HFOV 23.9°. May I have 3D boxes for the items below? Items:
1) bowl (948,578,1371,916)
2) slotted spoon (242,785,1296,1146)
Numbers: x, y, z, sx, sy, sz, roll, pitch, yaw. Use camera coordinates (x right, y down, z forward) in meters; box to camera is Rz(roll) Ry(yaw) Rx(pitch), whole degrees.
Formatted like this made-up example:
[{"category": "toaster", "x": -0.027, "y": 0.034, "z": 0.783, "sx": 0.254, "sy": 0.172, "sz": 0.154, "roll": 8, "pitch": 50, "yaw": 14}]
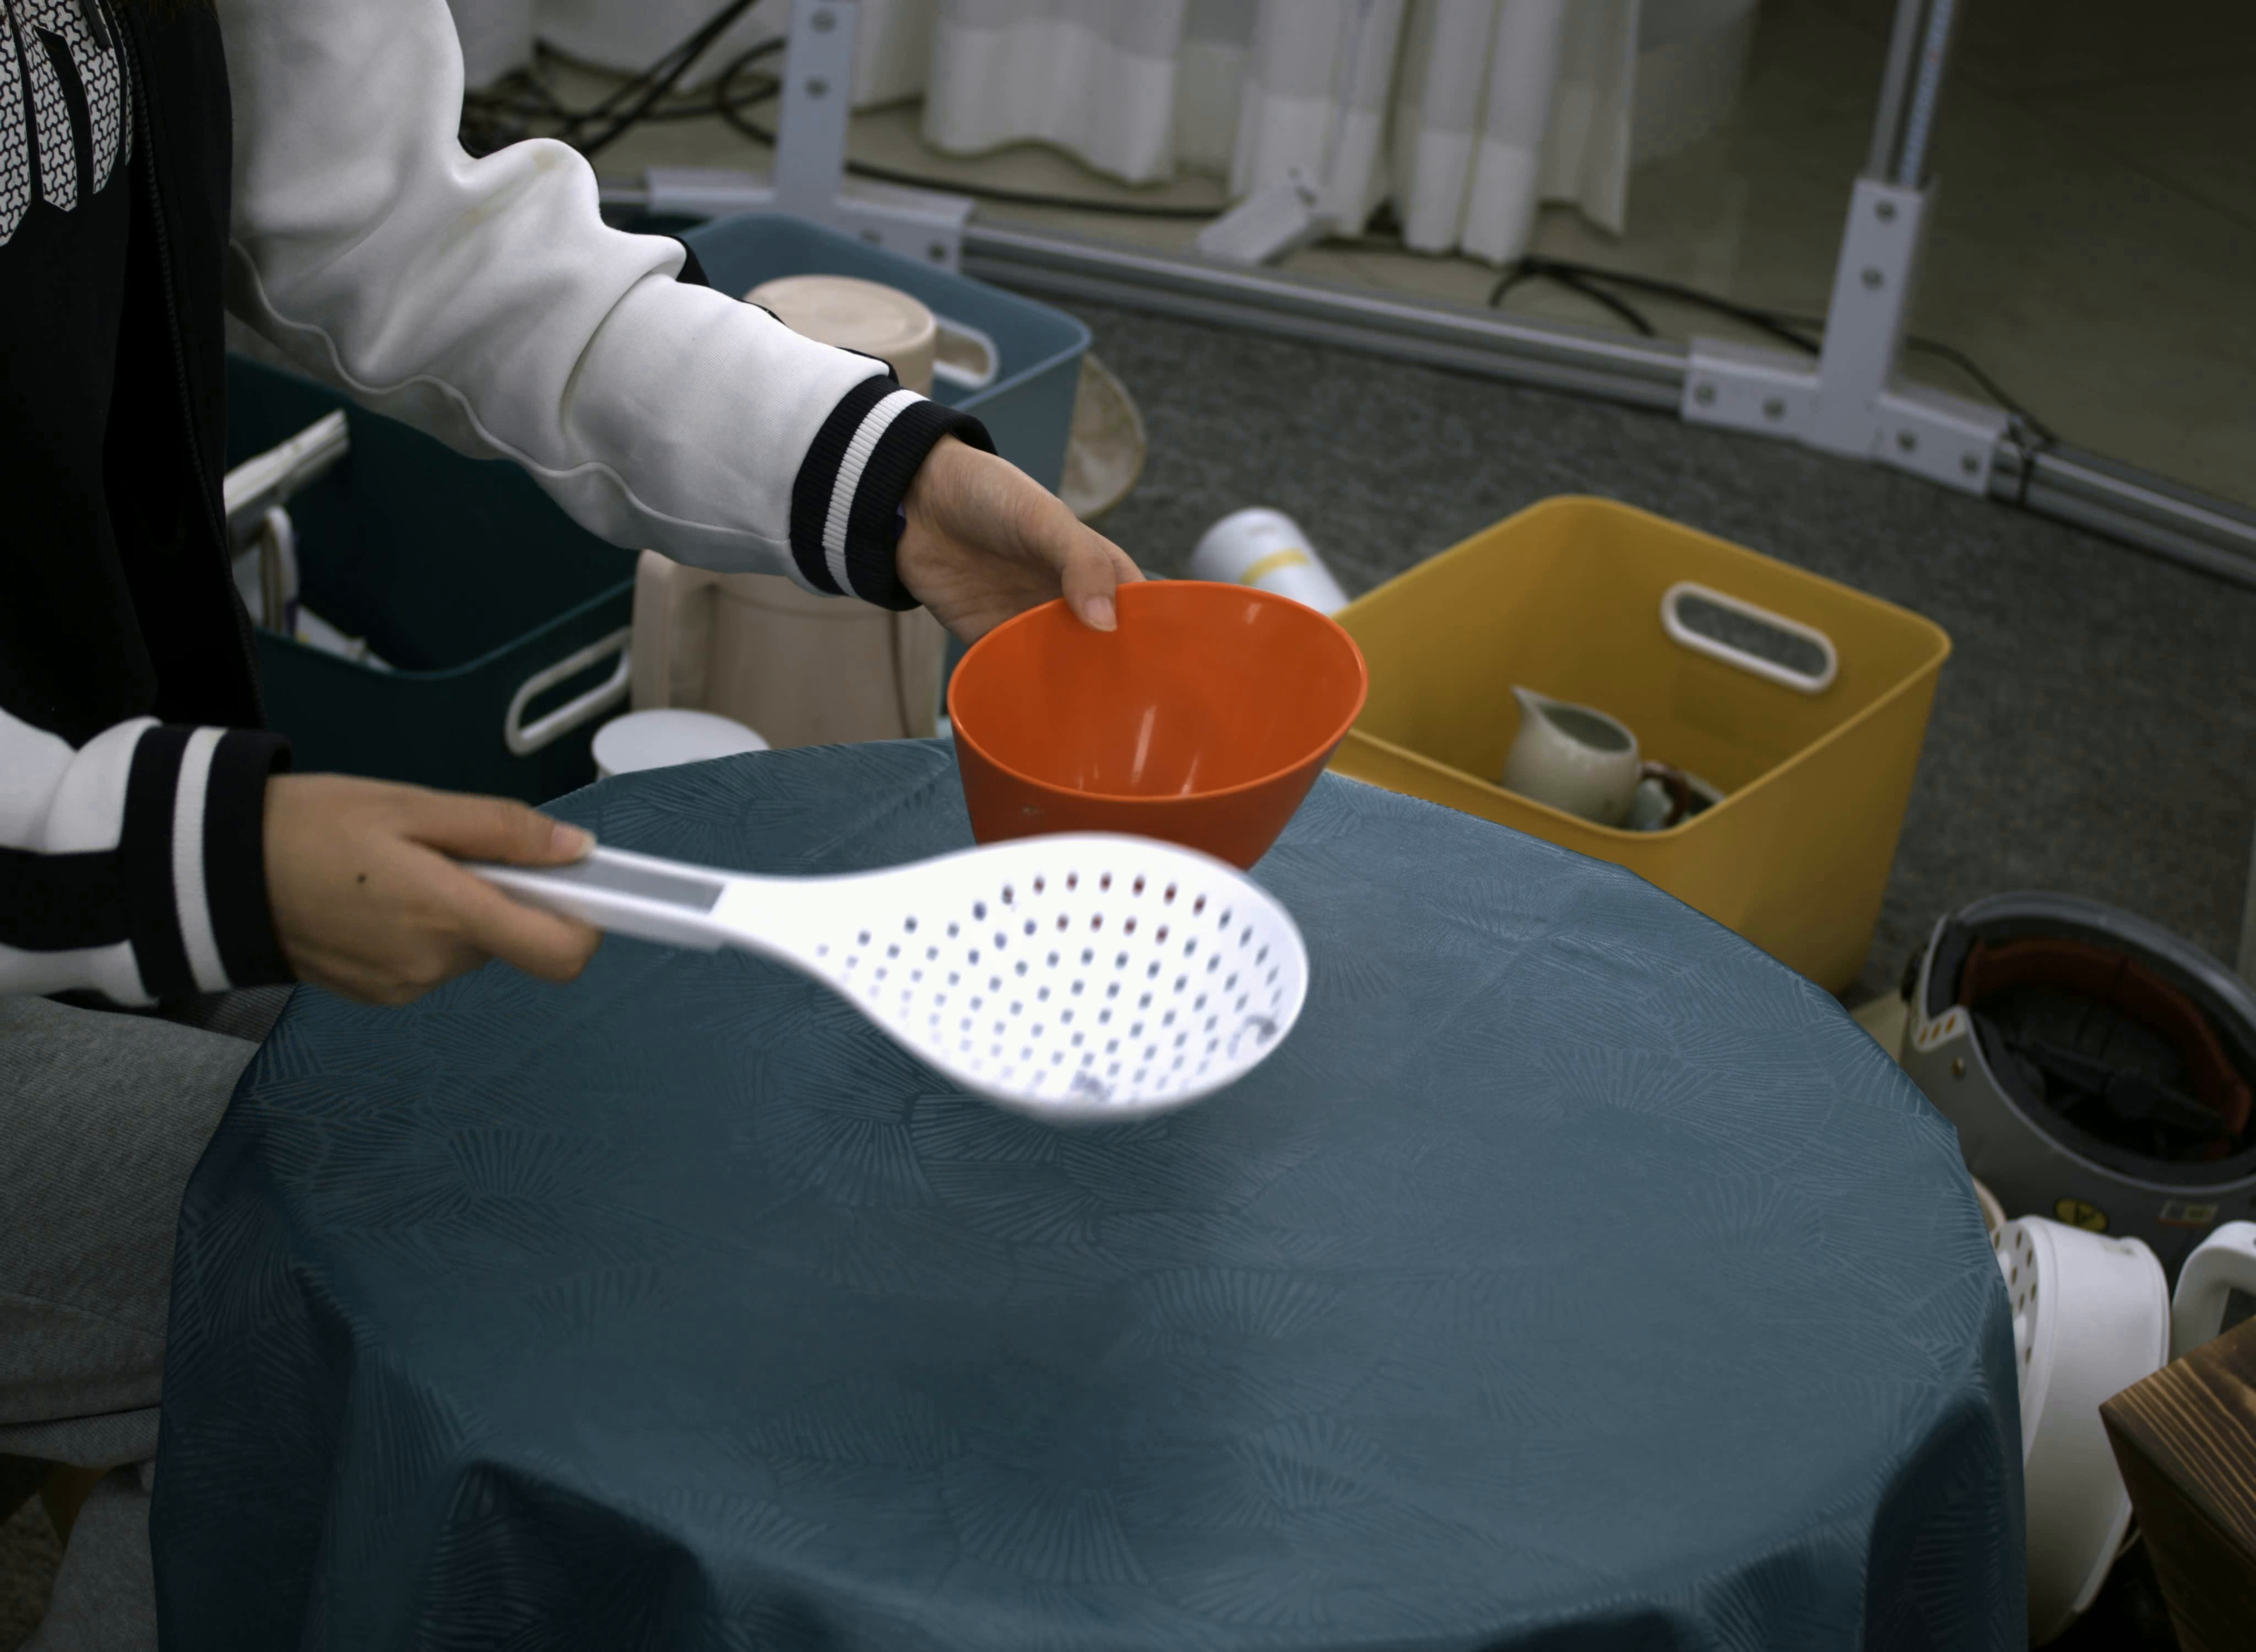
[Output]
[{"category": "bowl", "x": 0.006, "y": -0.014, "z": 1.894, "sx": 0.147, "sy": 0.104, "sz": 0.149, "roll": 5, "pitch": 33, "yaw": -4}, {"category": "slotted spoon", "x": -0.118, "y": 0.035, "z": 1.695, "sx": 0.350, "sy": 0.045, "sz": 0.136, "roll": 16, "pitch": 38, "yaw": 10}]
